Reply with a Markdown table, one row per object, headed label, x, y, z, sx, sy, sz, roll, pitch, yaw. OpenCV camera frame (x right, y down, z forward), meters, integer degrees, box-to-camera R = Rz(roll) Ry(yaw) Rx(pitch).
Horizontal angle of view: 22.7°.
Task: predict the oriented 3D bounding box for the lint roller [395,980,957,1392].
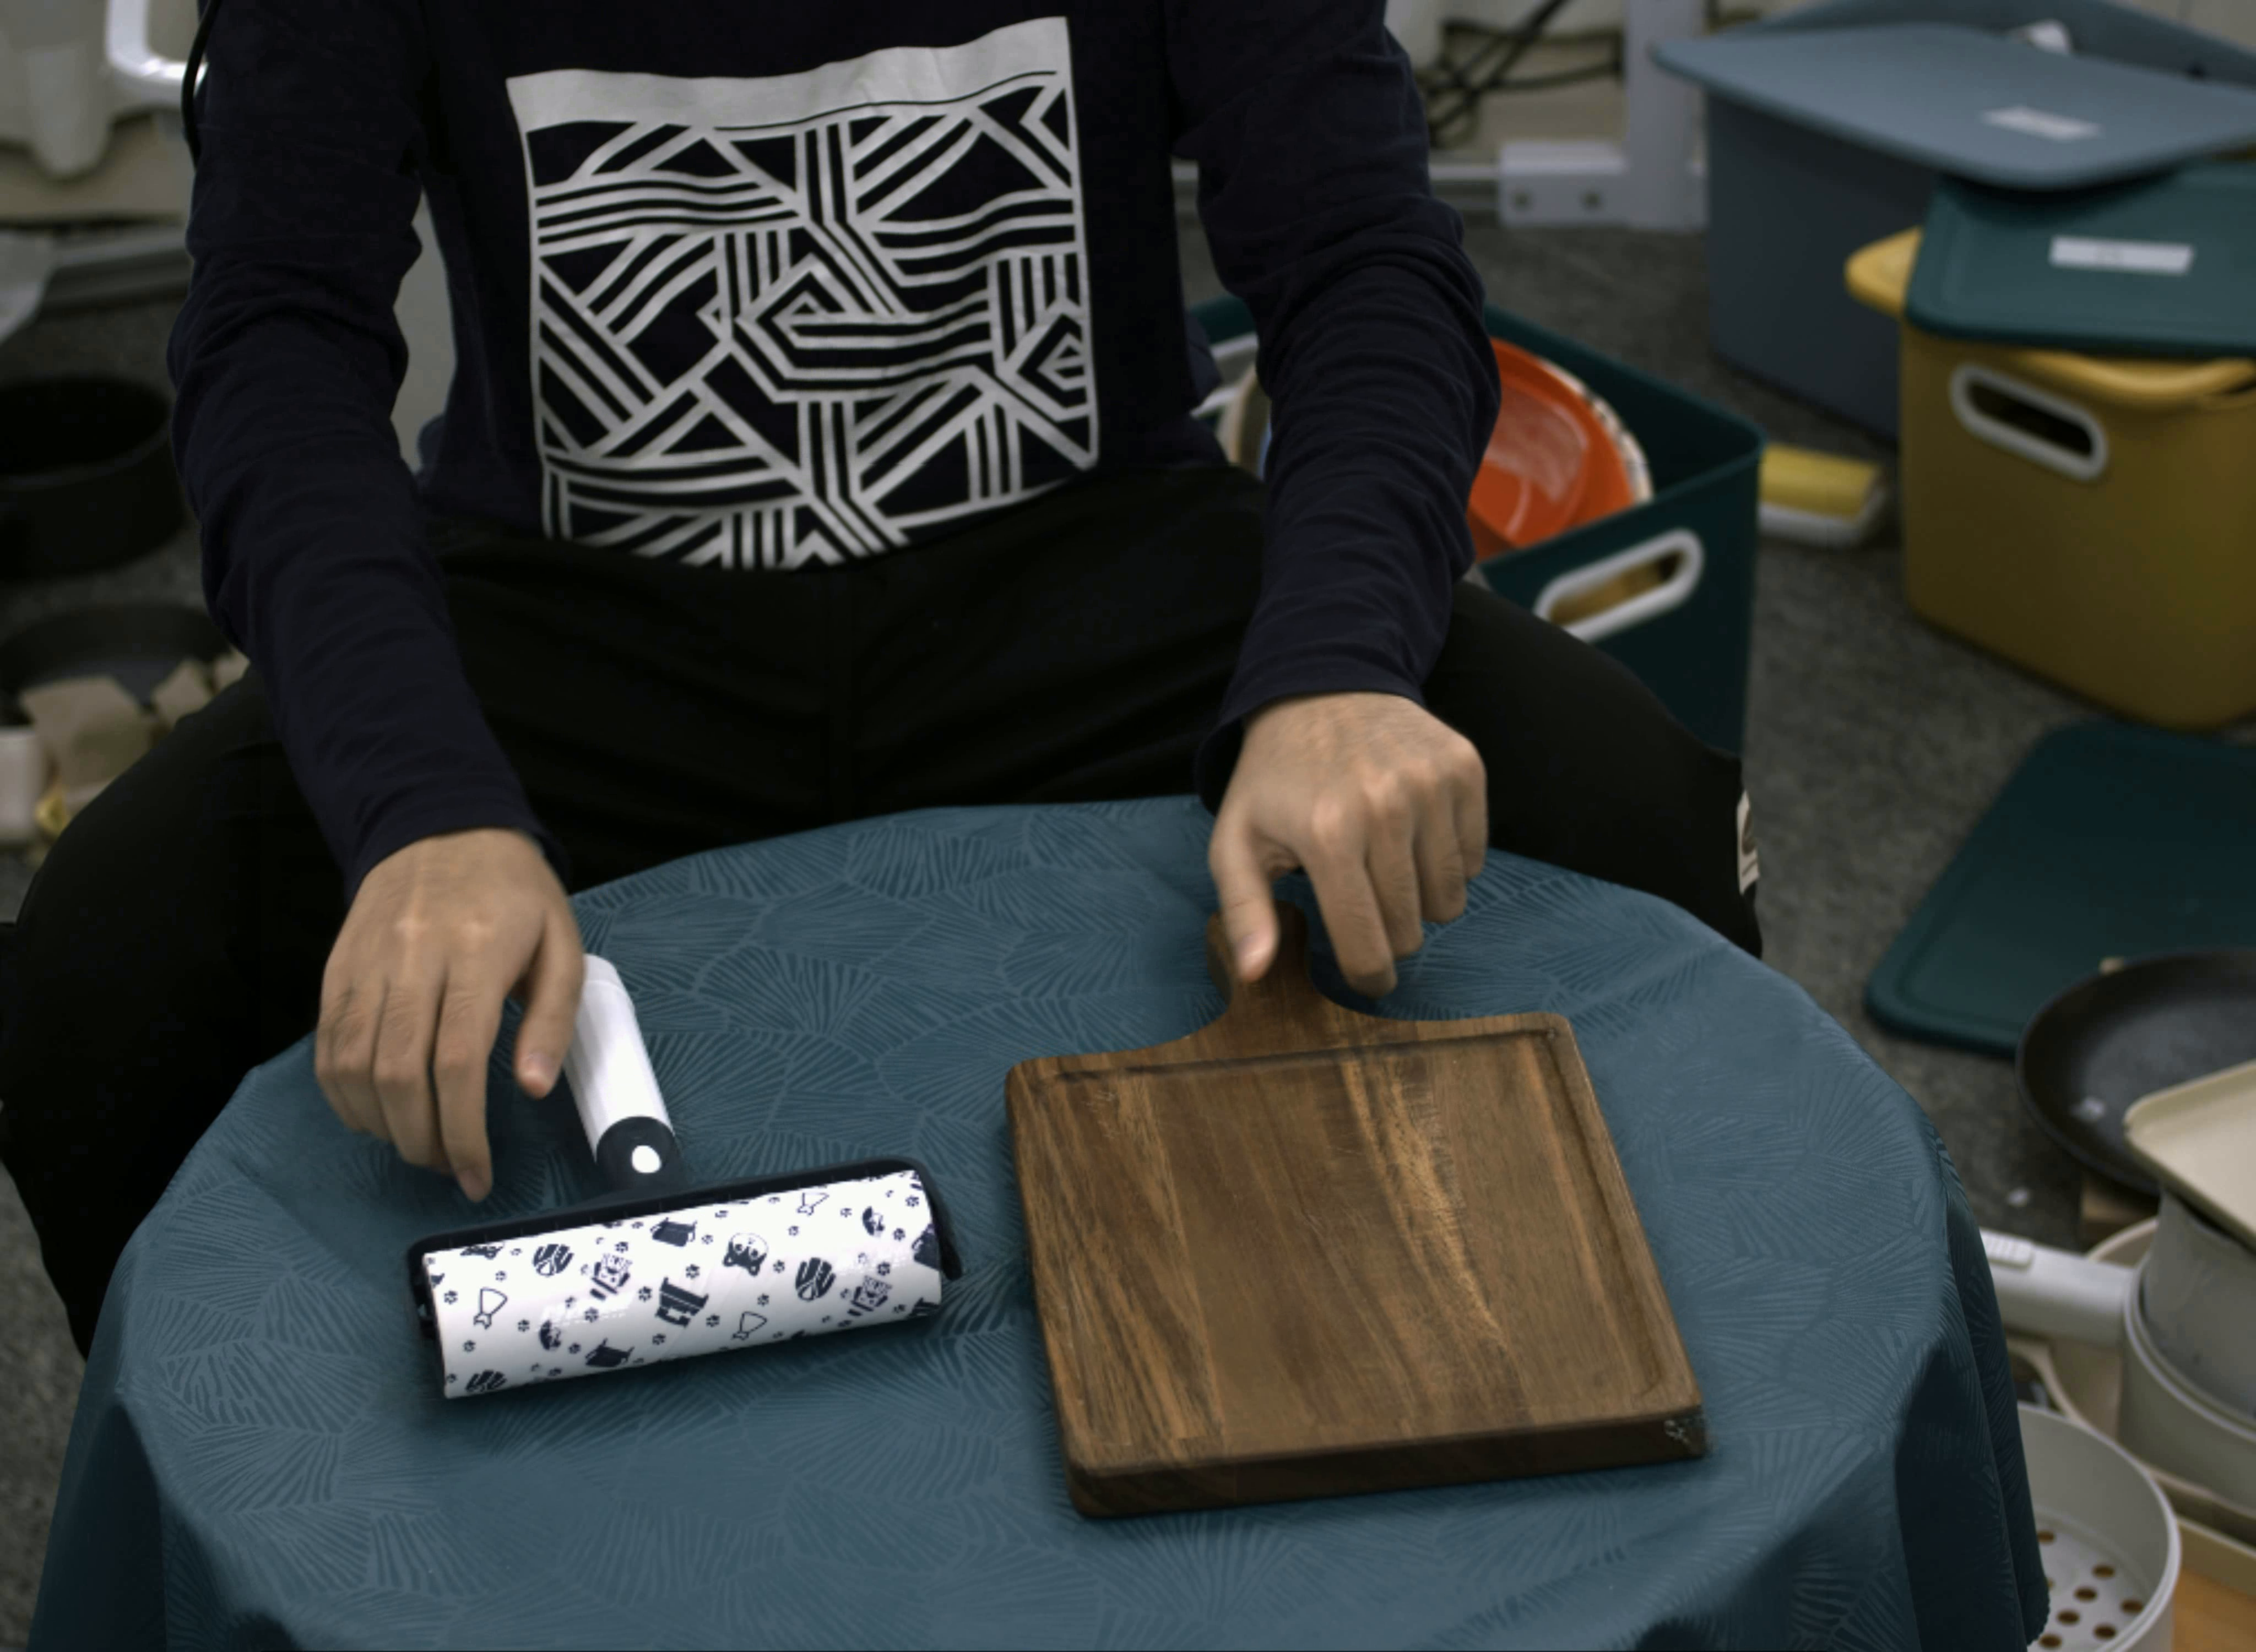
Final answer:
| label | x | y | z | sx | sy | sz | roll | pitch | yaw |
| --- | --- | --- | --- | --- | --- | --- | --- | --- | --- |
| lint roller | -0.168 | 0.104 | 1.869 | 0.176 | 0.050 | 0.249 | -10 | 26 | -12 |

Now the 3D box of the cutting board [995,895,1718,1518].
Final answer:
| label | x | y | z | sx | sy | sz | roll | pitch | yaw |
| --- | --- | --- | --- | --- | --- | --- | --- | --- | --- |
| cutting board | 0.061 | 0.113 | 1.849 | 0.200 | 0.023 | 0.357 | -5 | 27 | -5 |
